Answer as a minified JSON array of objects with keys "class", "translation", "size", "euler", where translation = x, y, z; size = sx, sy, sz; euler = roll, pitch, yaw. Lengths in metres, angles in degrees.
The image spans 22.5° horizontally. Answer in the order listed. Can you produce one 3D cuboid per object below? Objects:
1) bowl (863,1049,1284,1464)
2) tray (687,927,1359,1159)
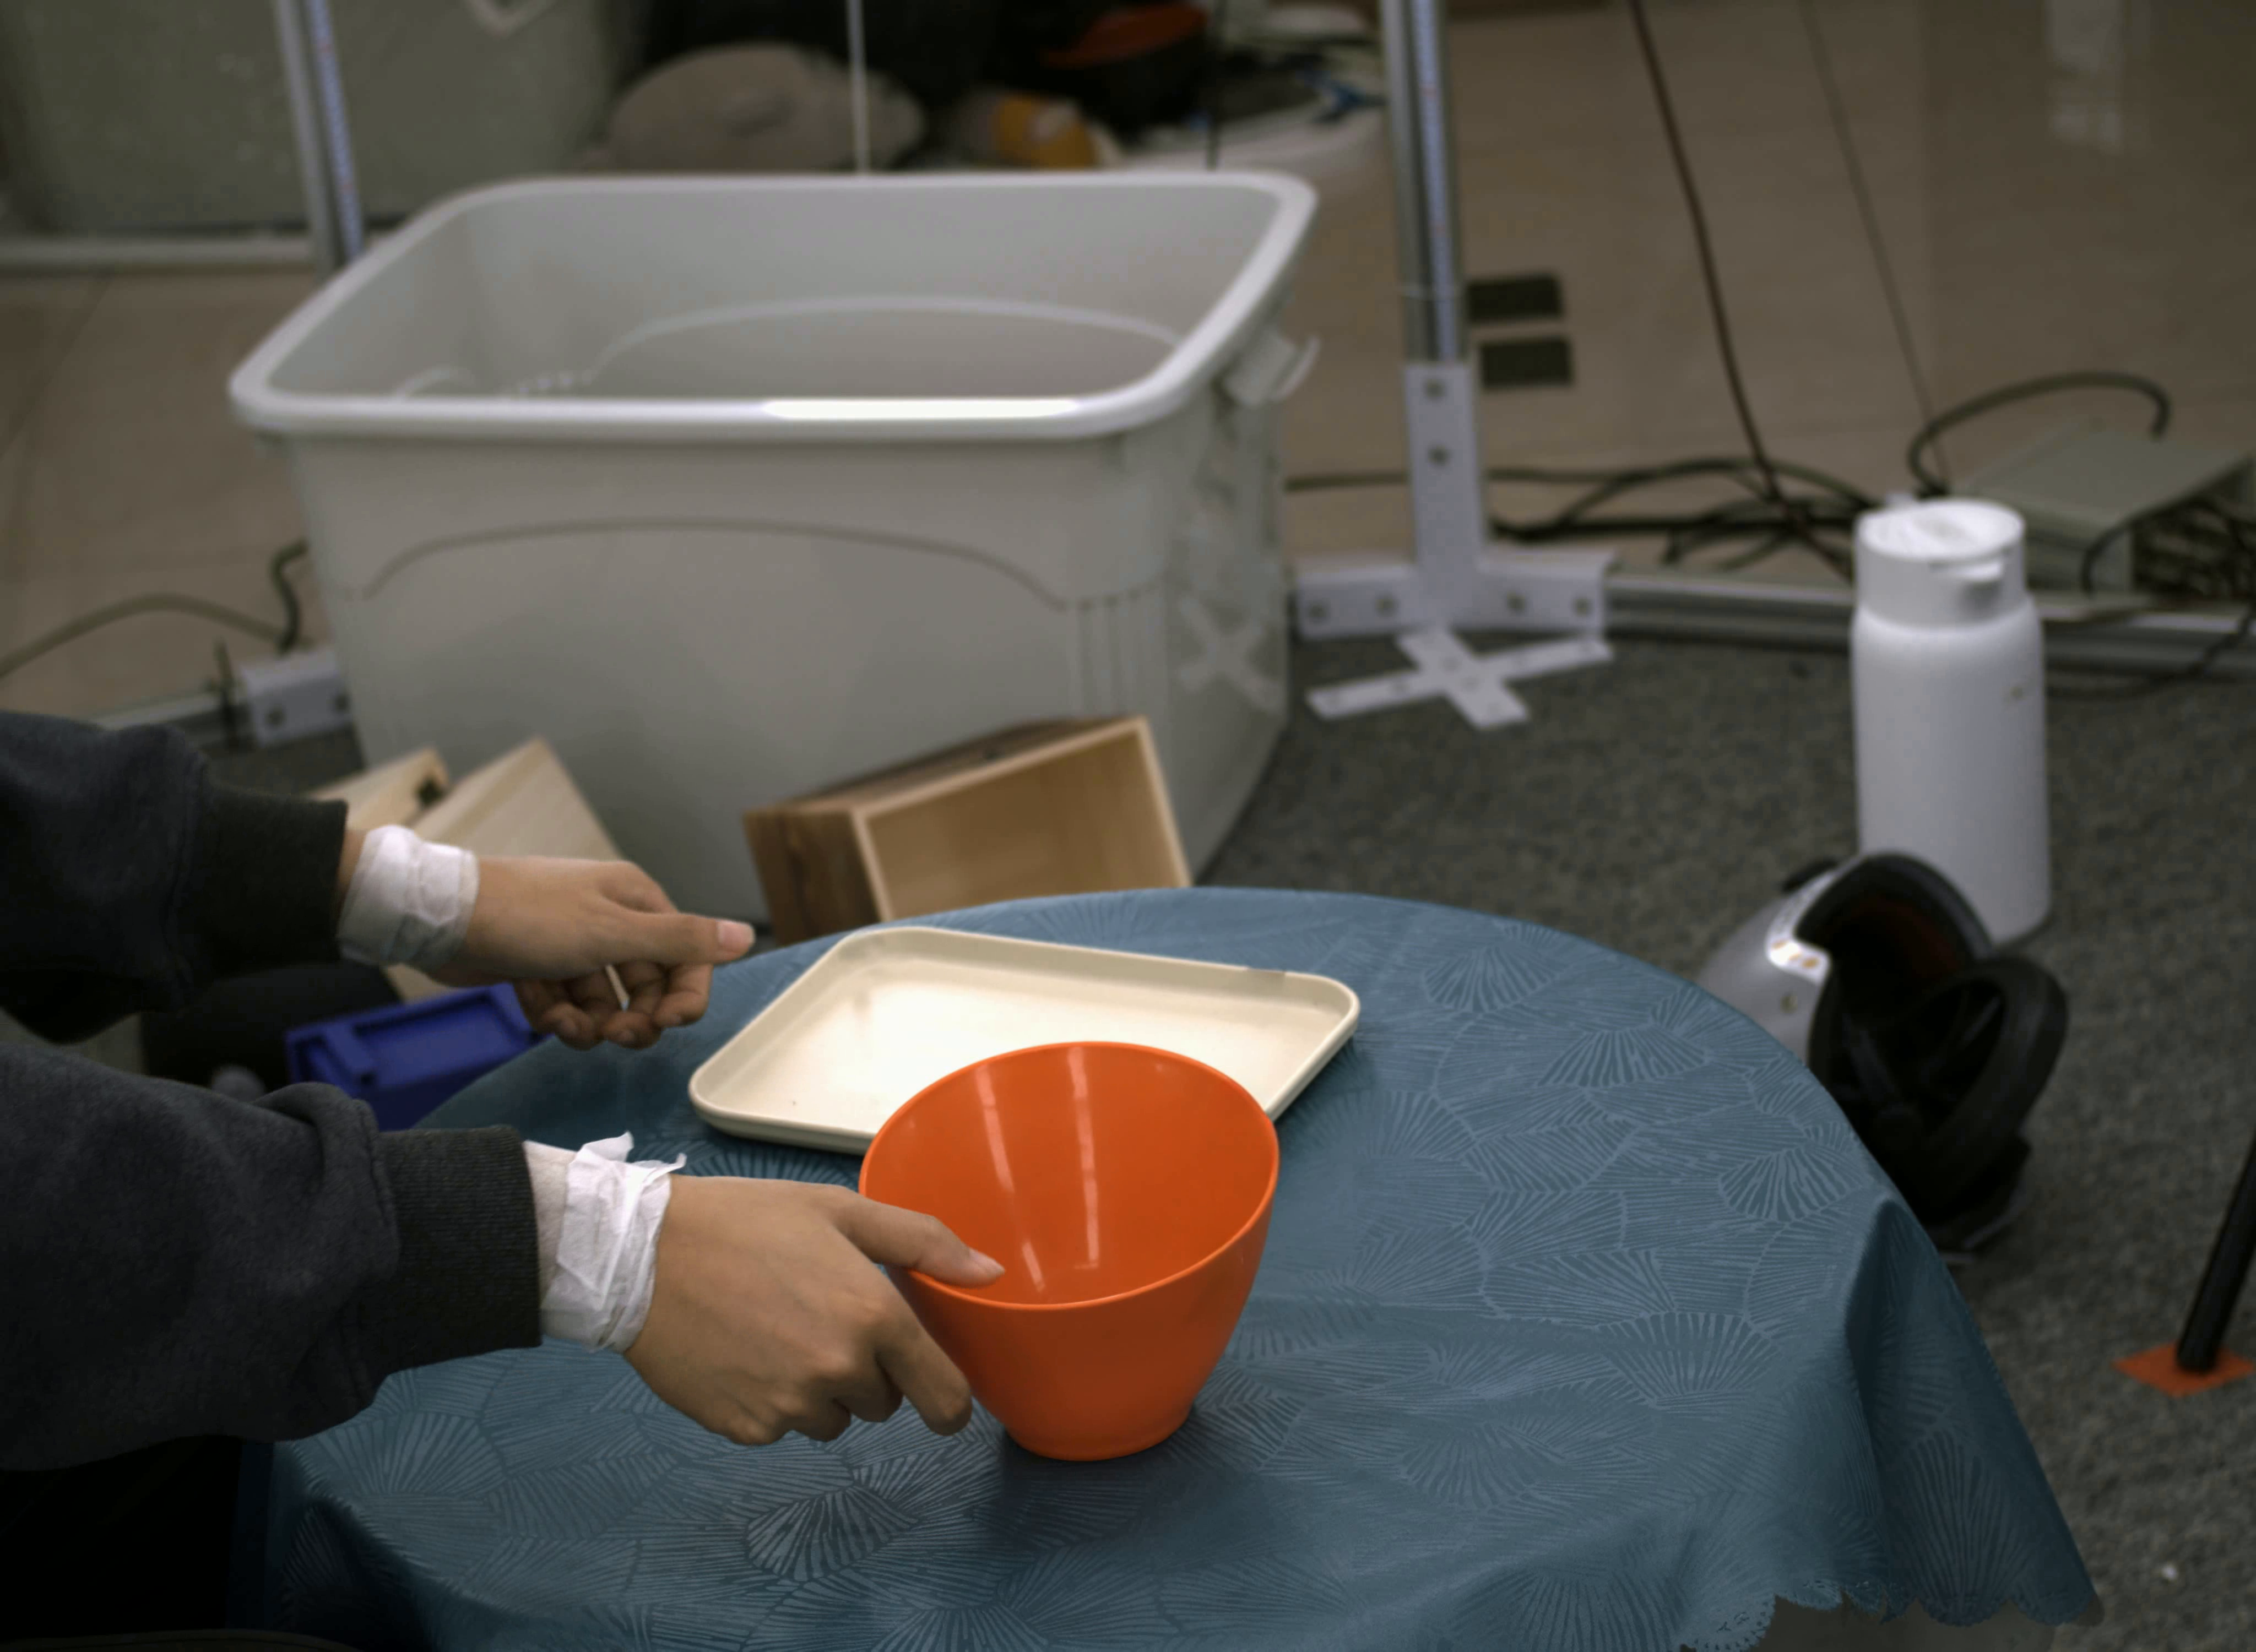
[{"class":"bowl","translation":[-0.016,0.157,1.990],"size":[0.148,0.106,0.146],"euler":[-4,25,2]},{"class":"tray","translation":[-0.041,0.092,2.236],"size":[0.239,0.018,0.169],"euler":[7,29,26]}]
